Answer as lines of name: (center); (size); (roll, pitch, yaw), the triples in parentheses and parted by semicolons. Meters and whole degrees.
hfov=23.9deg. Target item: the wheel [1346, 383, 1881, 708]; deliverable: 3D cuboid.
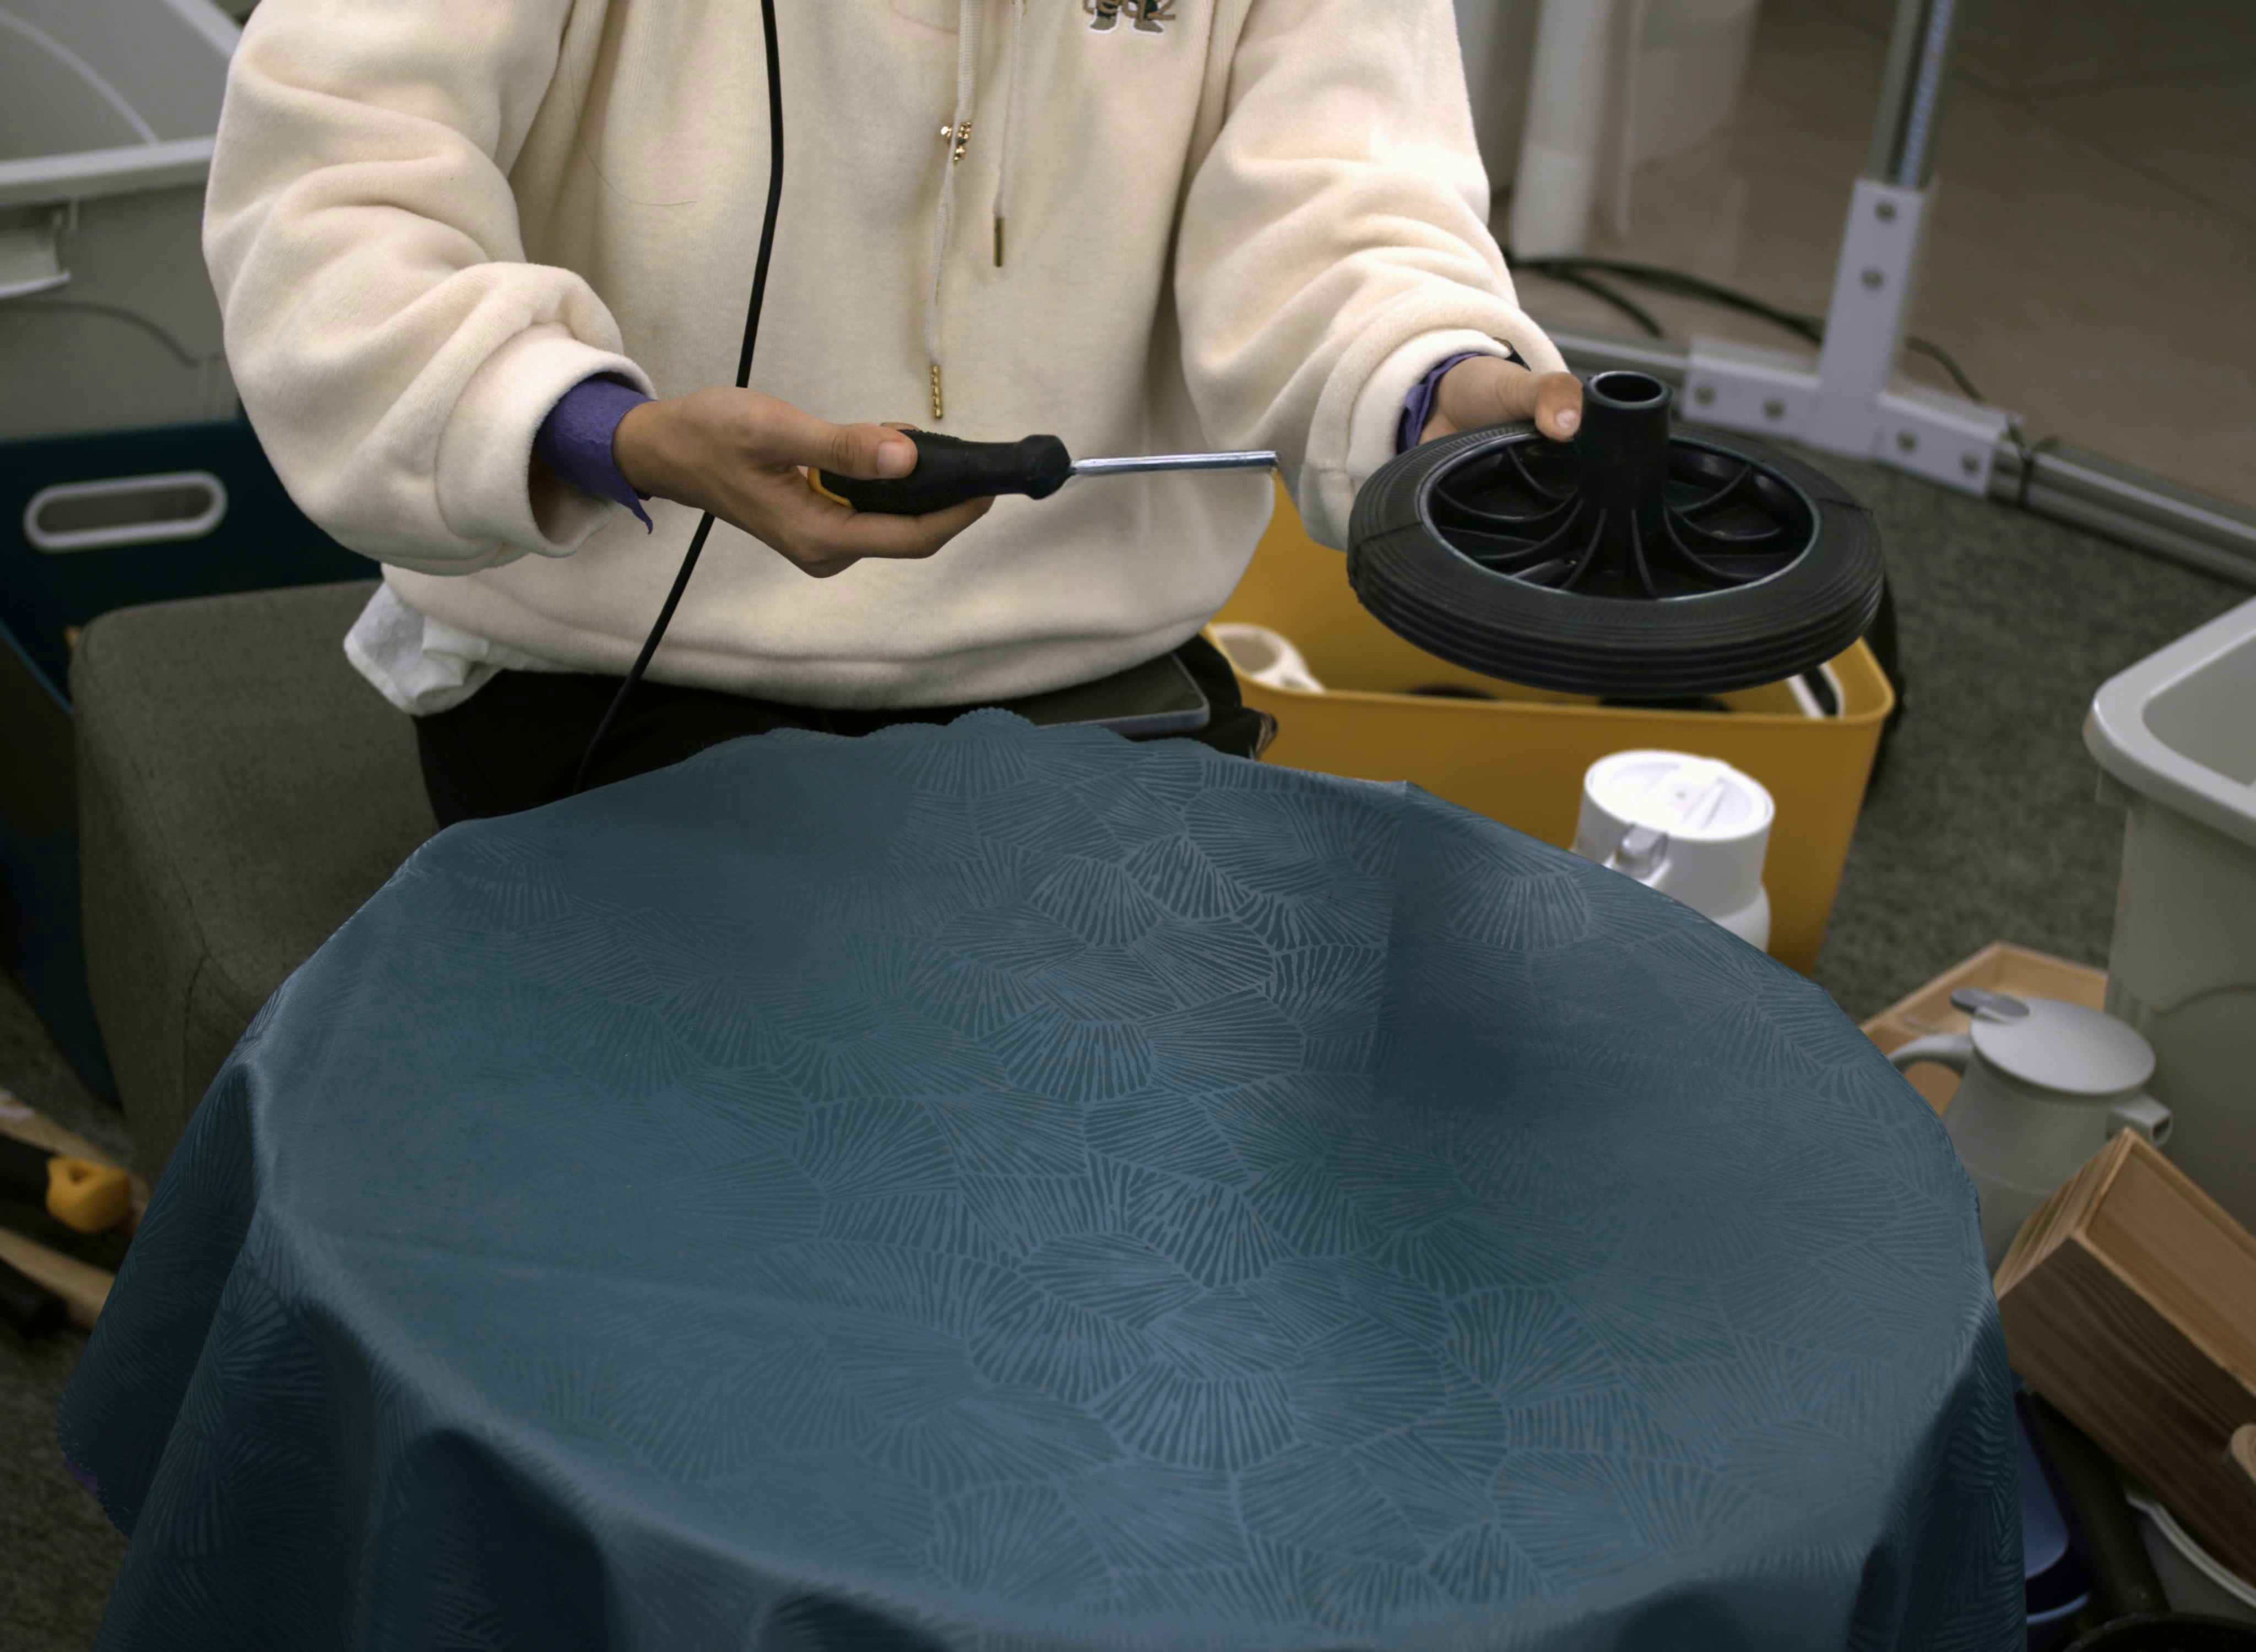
wheel: (0.170, -0.111, 1.852); (0.188, 0.079, 0.190); (13, 31, 21)

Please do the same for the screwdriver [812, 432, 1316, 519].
screwdriver: (-0.023, -0.126, 1.894); (0.198, 0.031, 0.031); (1, 23, 24)
